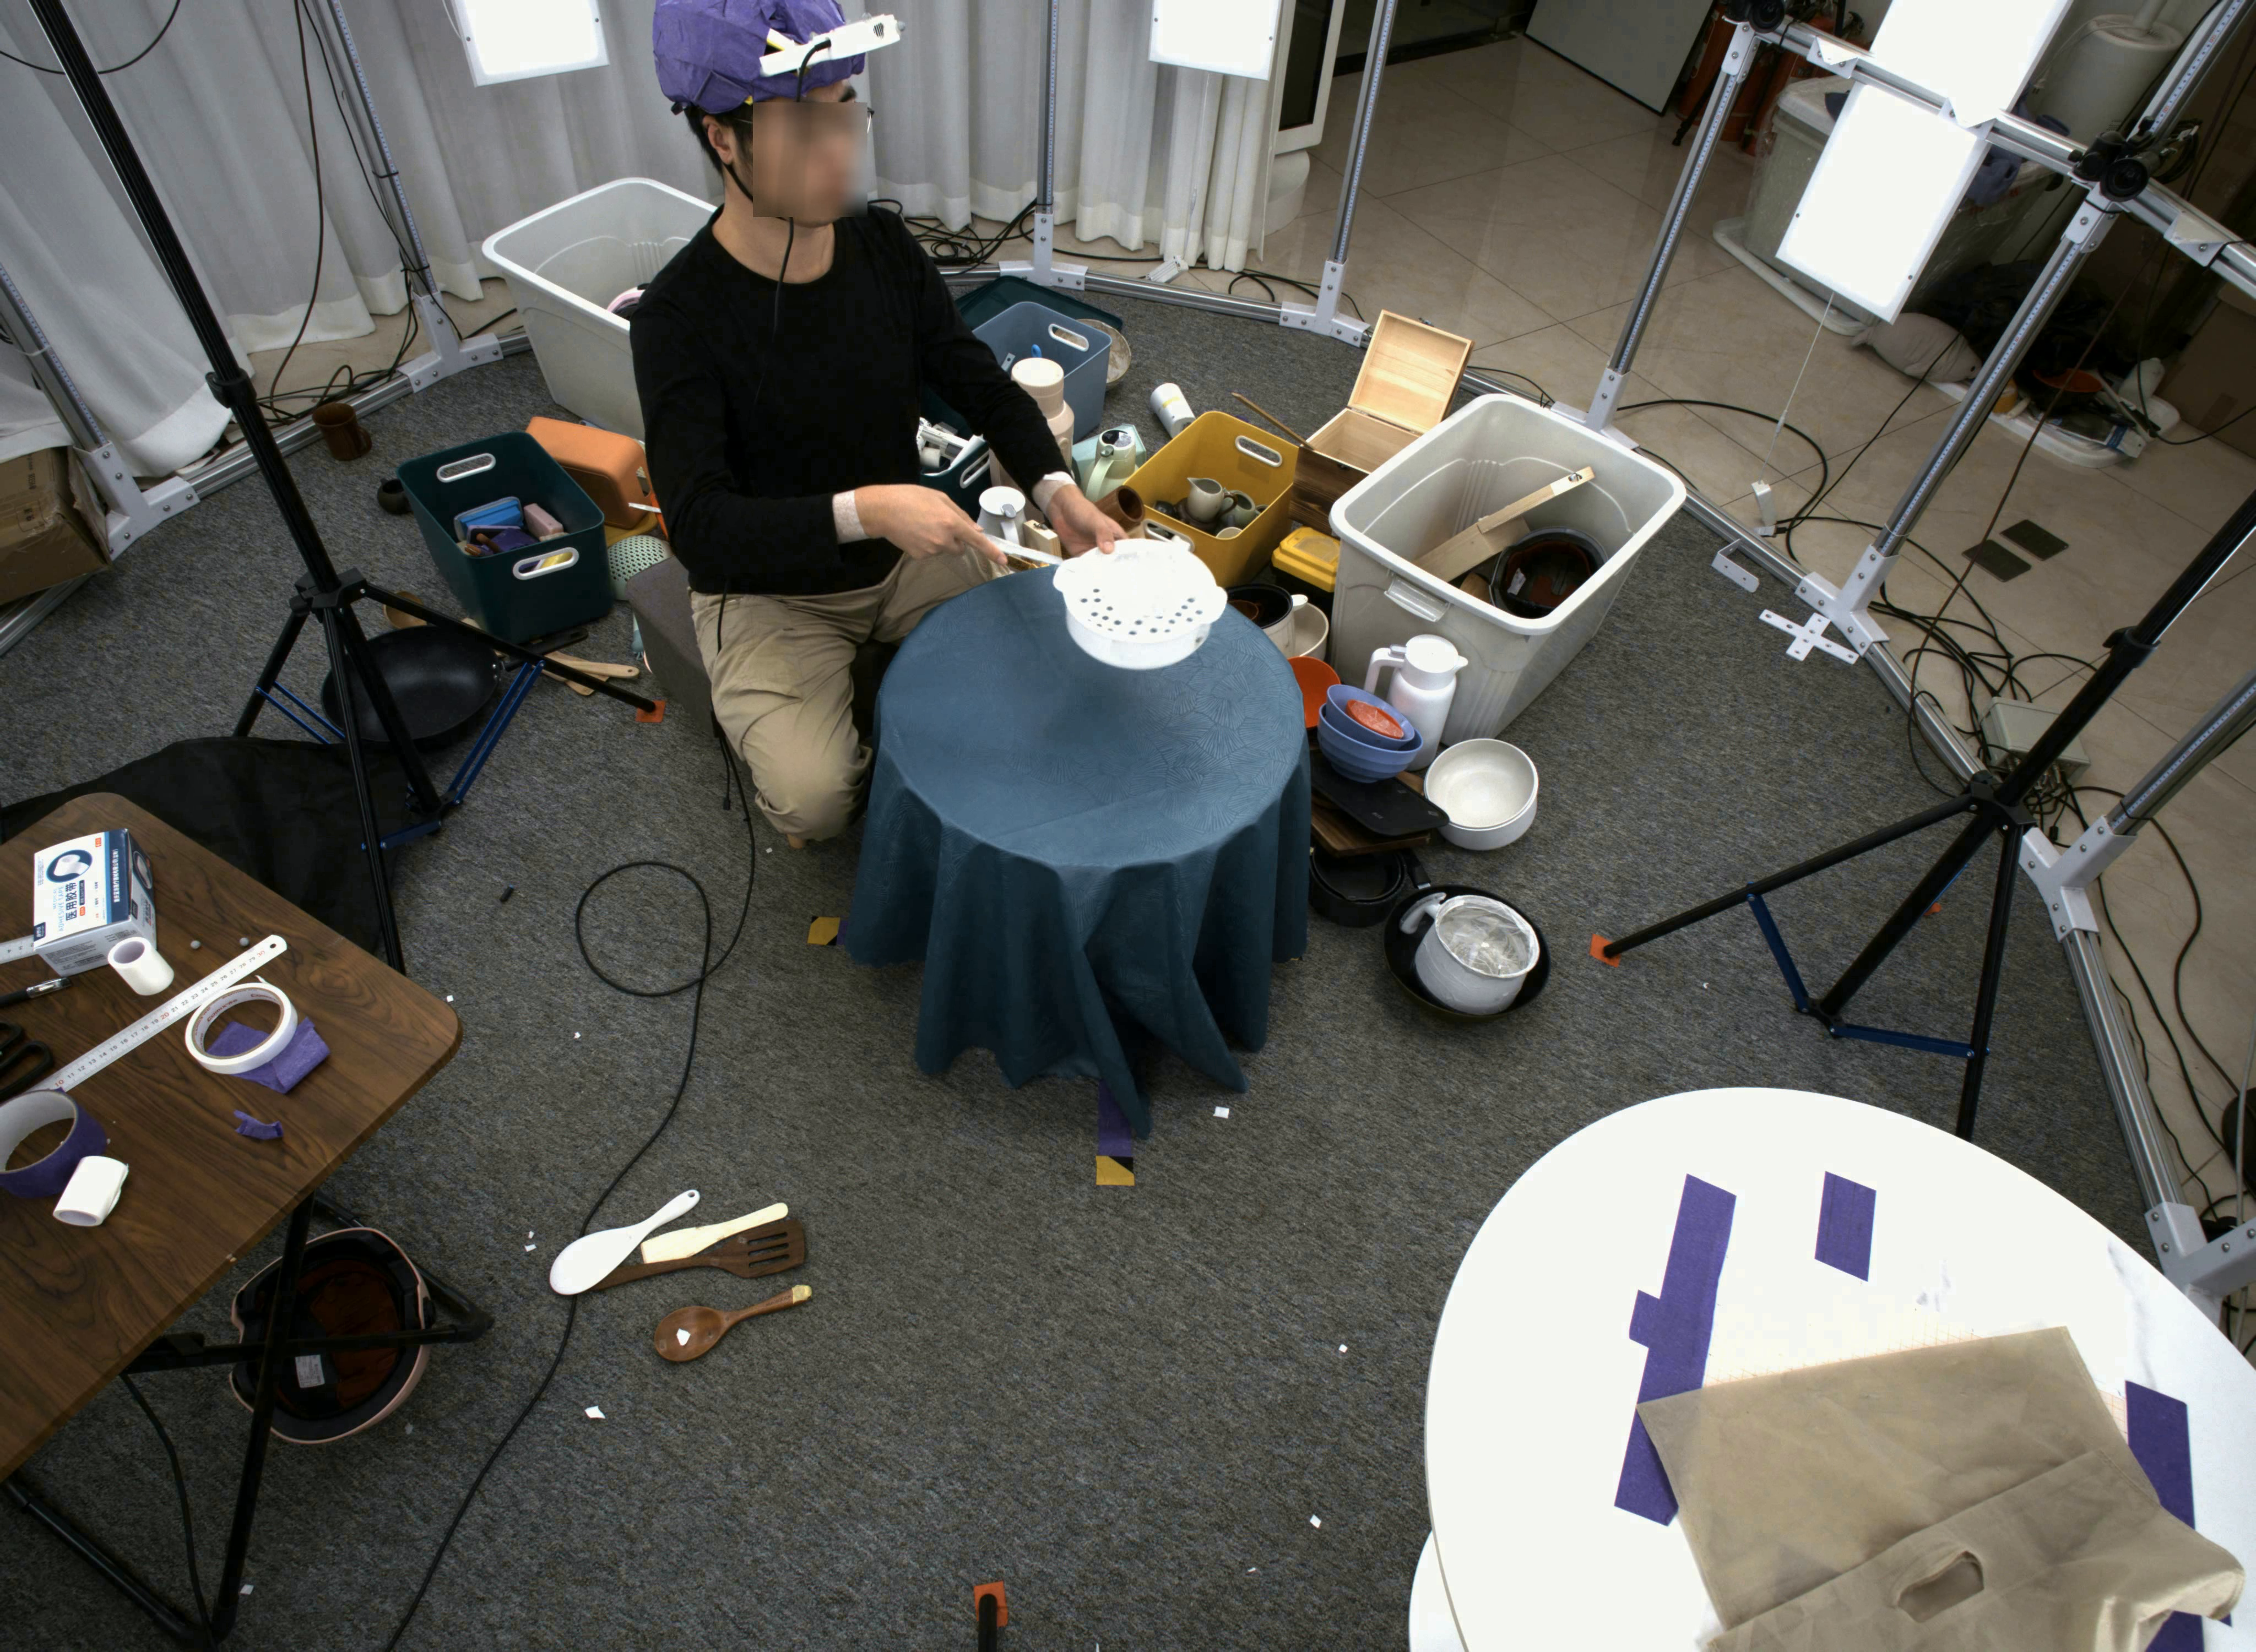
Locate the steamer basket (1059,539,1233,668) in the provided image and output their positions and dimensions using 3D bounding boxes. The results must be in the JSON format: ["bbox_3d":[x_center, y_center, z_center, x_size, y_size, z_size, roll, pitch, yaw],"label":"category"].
[{"bbox_3d":[0.023,-0.294,1.695,0.231,0.067,0.206,13,49,13],"label":"steamer basket"}]

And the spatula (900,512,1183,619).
[{"bbox_3d":[-0.110,-0.345,1.639,0.363,0.044,0.100,14,72,-12],"label":"spatula"}]
